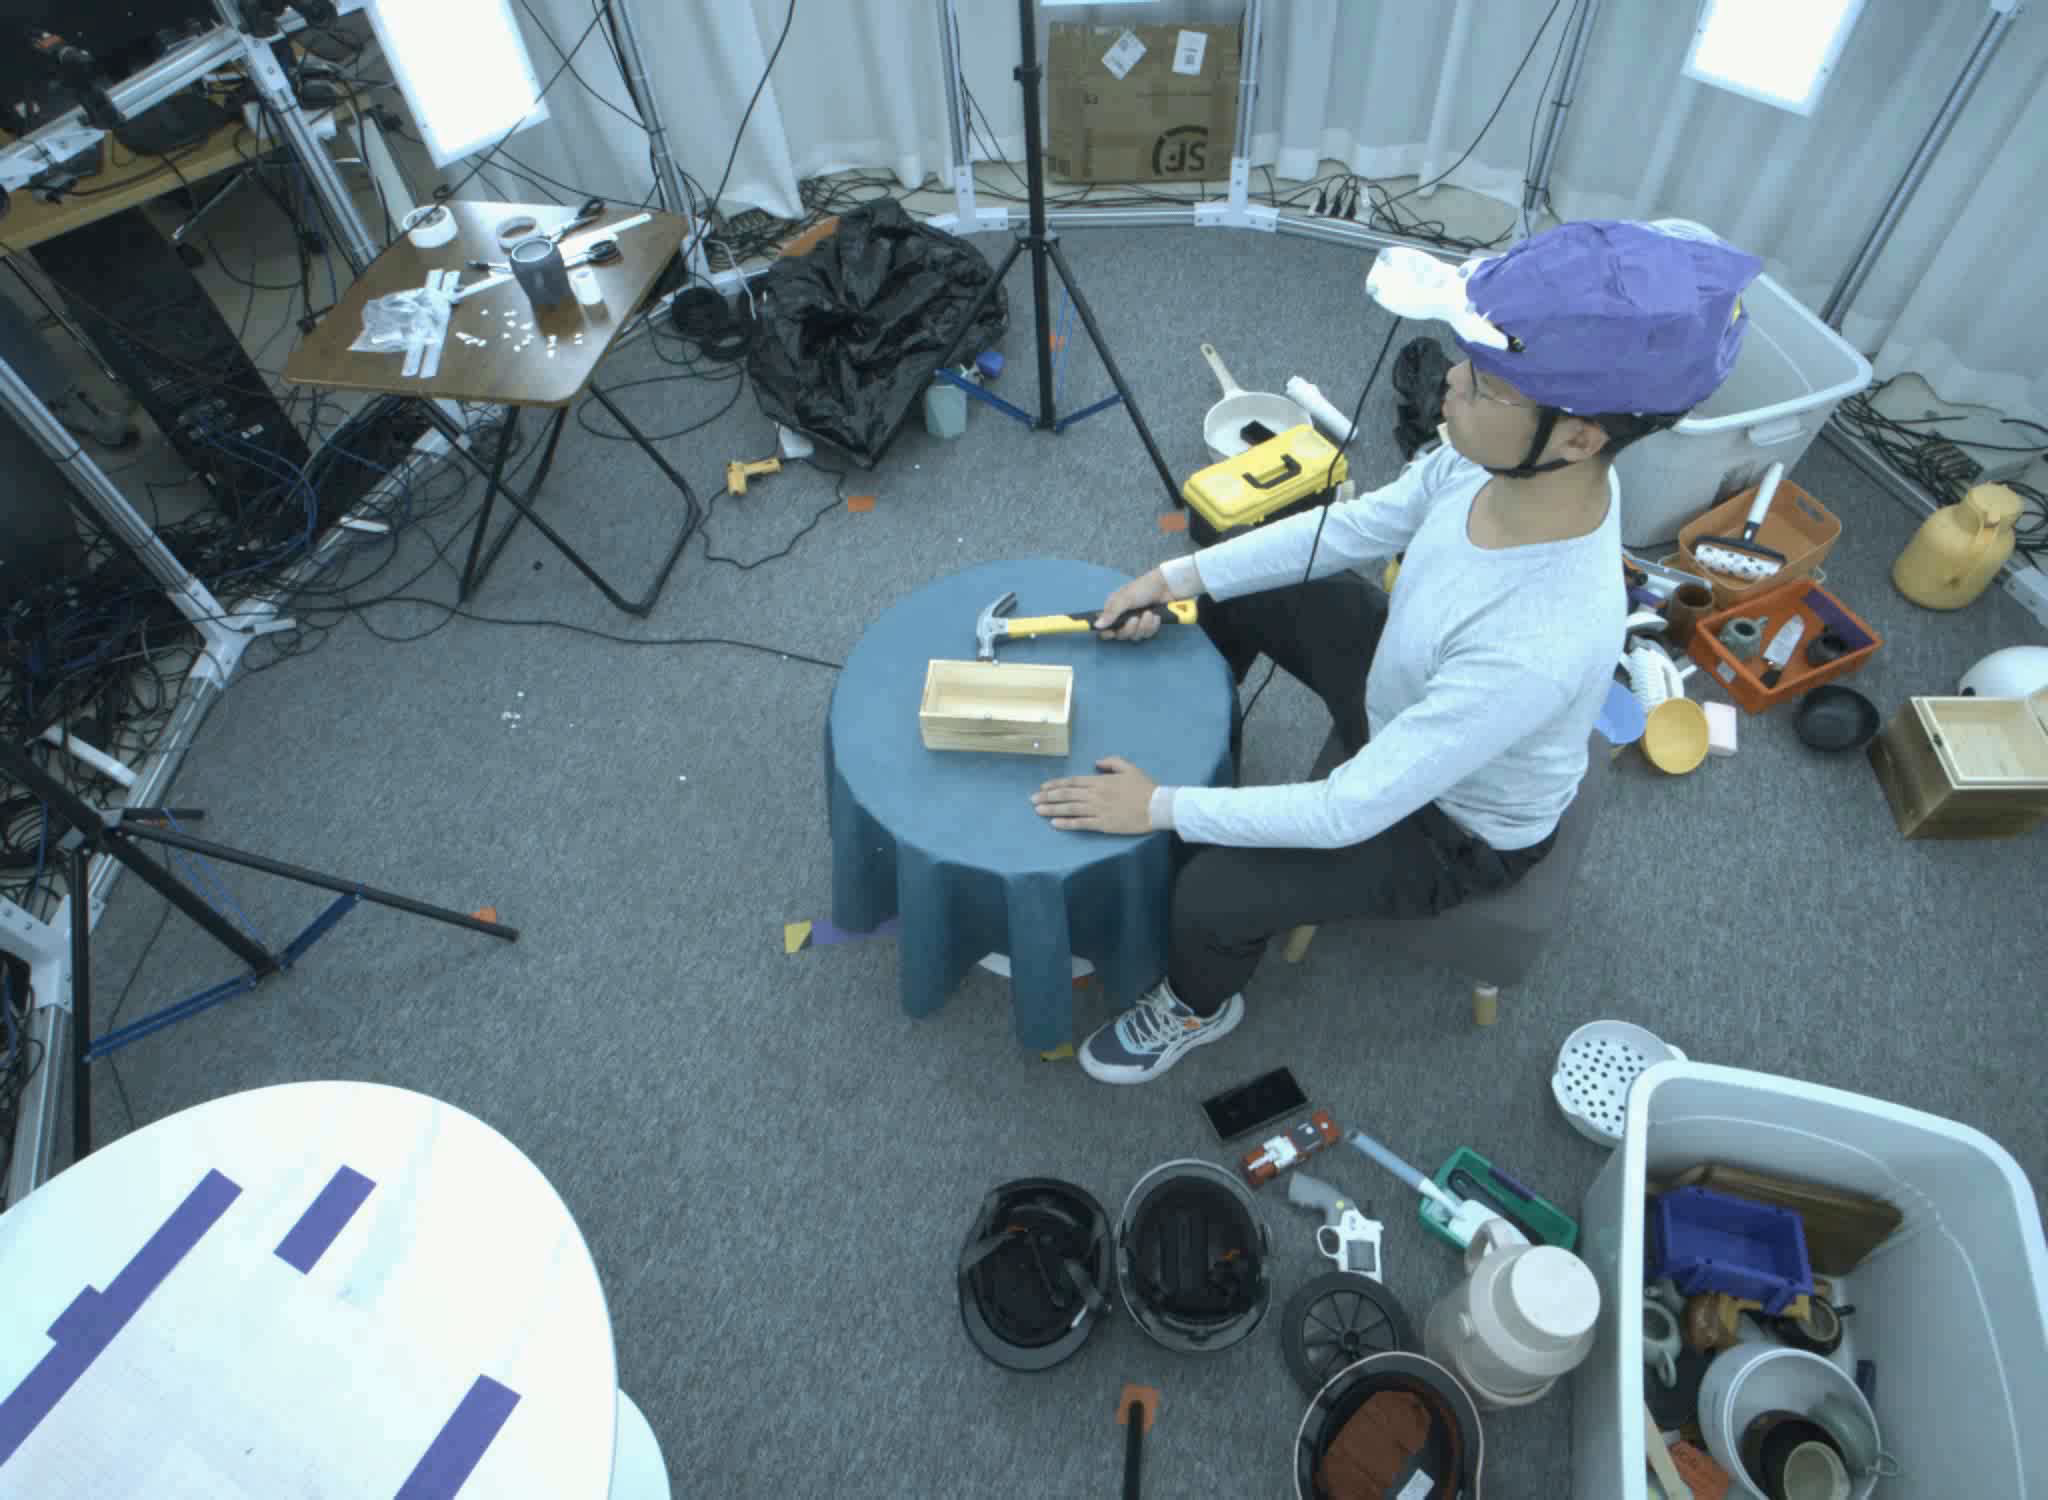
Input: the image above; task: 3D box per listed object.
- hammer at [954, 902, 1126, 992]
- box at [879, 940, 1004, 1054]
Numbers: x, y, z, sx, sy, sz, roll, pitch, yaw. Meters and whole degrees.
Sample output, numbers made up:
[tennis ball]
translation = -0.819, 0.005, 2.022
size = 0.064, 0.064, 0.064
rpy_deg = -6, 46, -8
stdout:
[hammer]
translation = 0.039, 0.388, 2.366
size = 0.333, 0.032, 0.131
rpy_deg = 19, 55, 22
[box]
translation = -0.156, 0.463, 2.308
size = 0.208, 0.081, 0.108
rpy_deg = 26, 59, 19
